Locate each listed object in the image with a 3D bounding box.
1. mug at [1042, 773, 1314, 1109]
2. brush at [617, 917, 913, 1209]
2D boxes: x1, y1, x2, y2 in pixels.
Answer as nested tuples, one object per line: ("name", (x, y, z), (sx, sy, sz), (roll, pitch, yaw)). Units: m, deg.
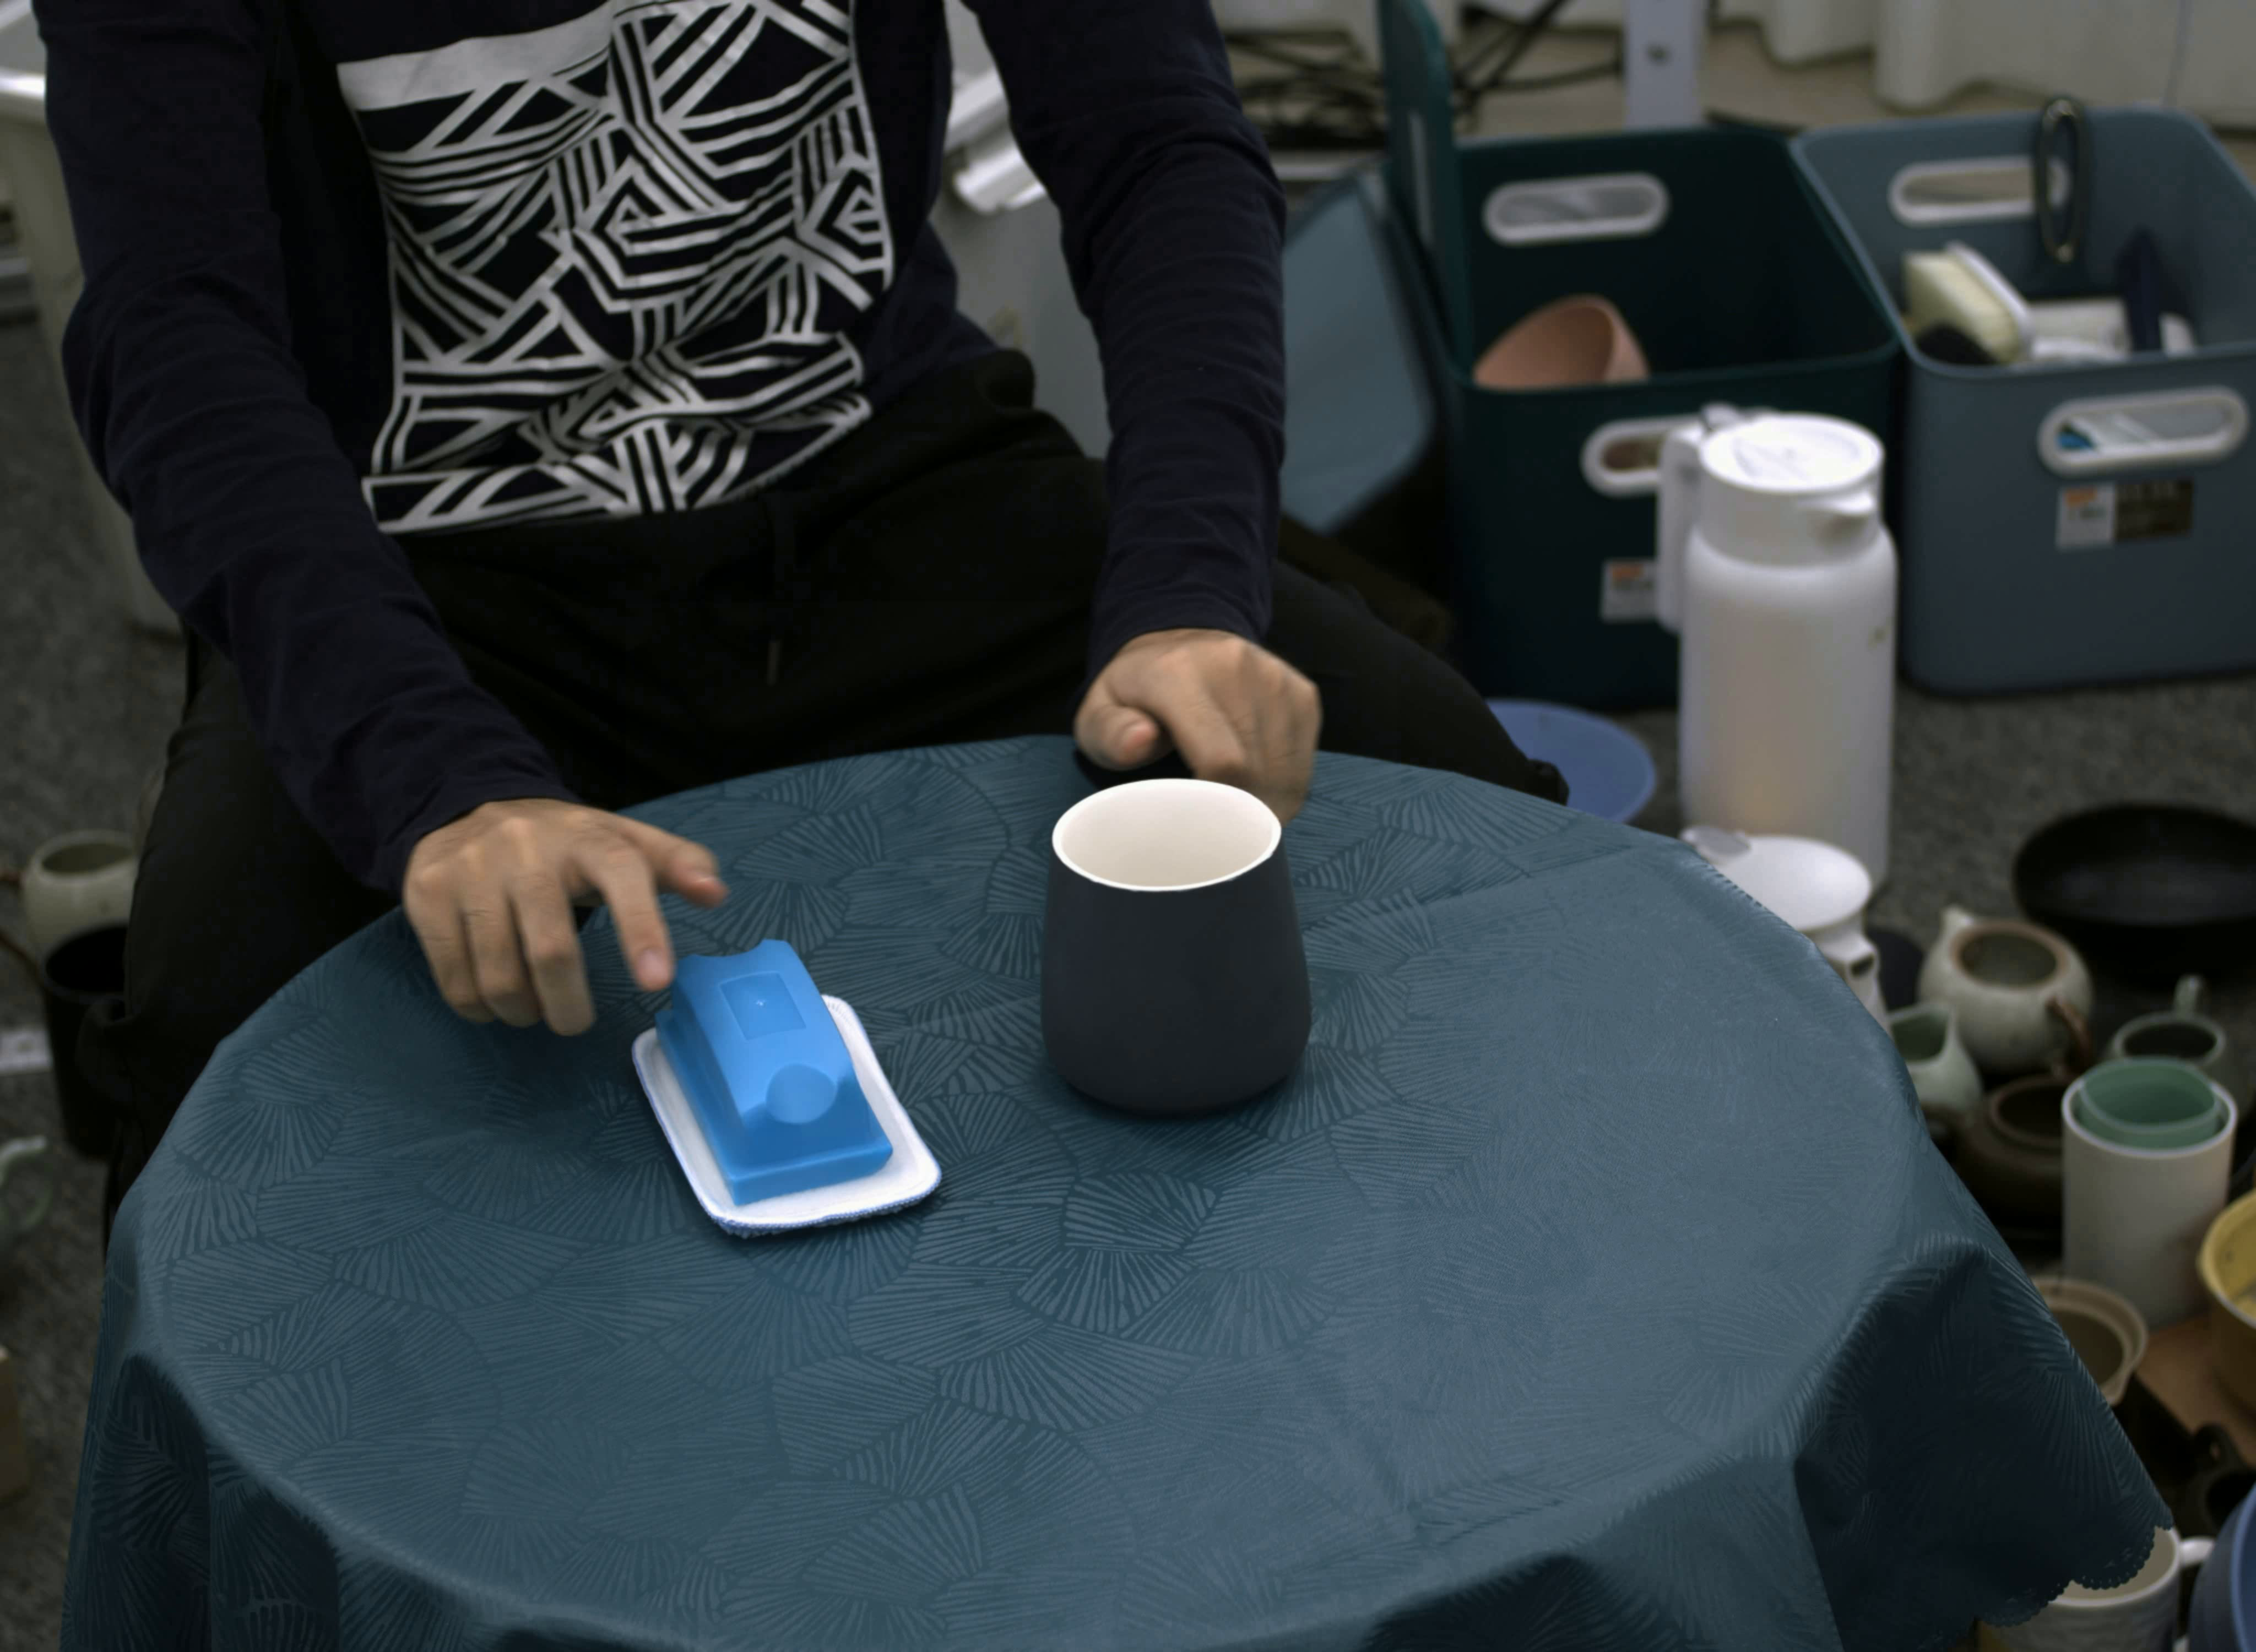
("mug", (0.013, 0.033, 1.927), (0.093, 0.089, 0.124), (-8, 29, -14))
("brush", (-0.122, 0.076, 1.895), (0.084, 0.055, 0.145), (-7, 30, -14))
